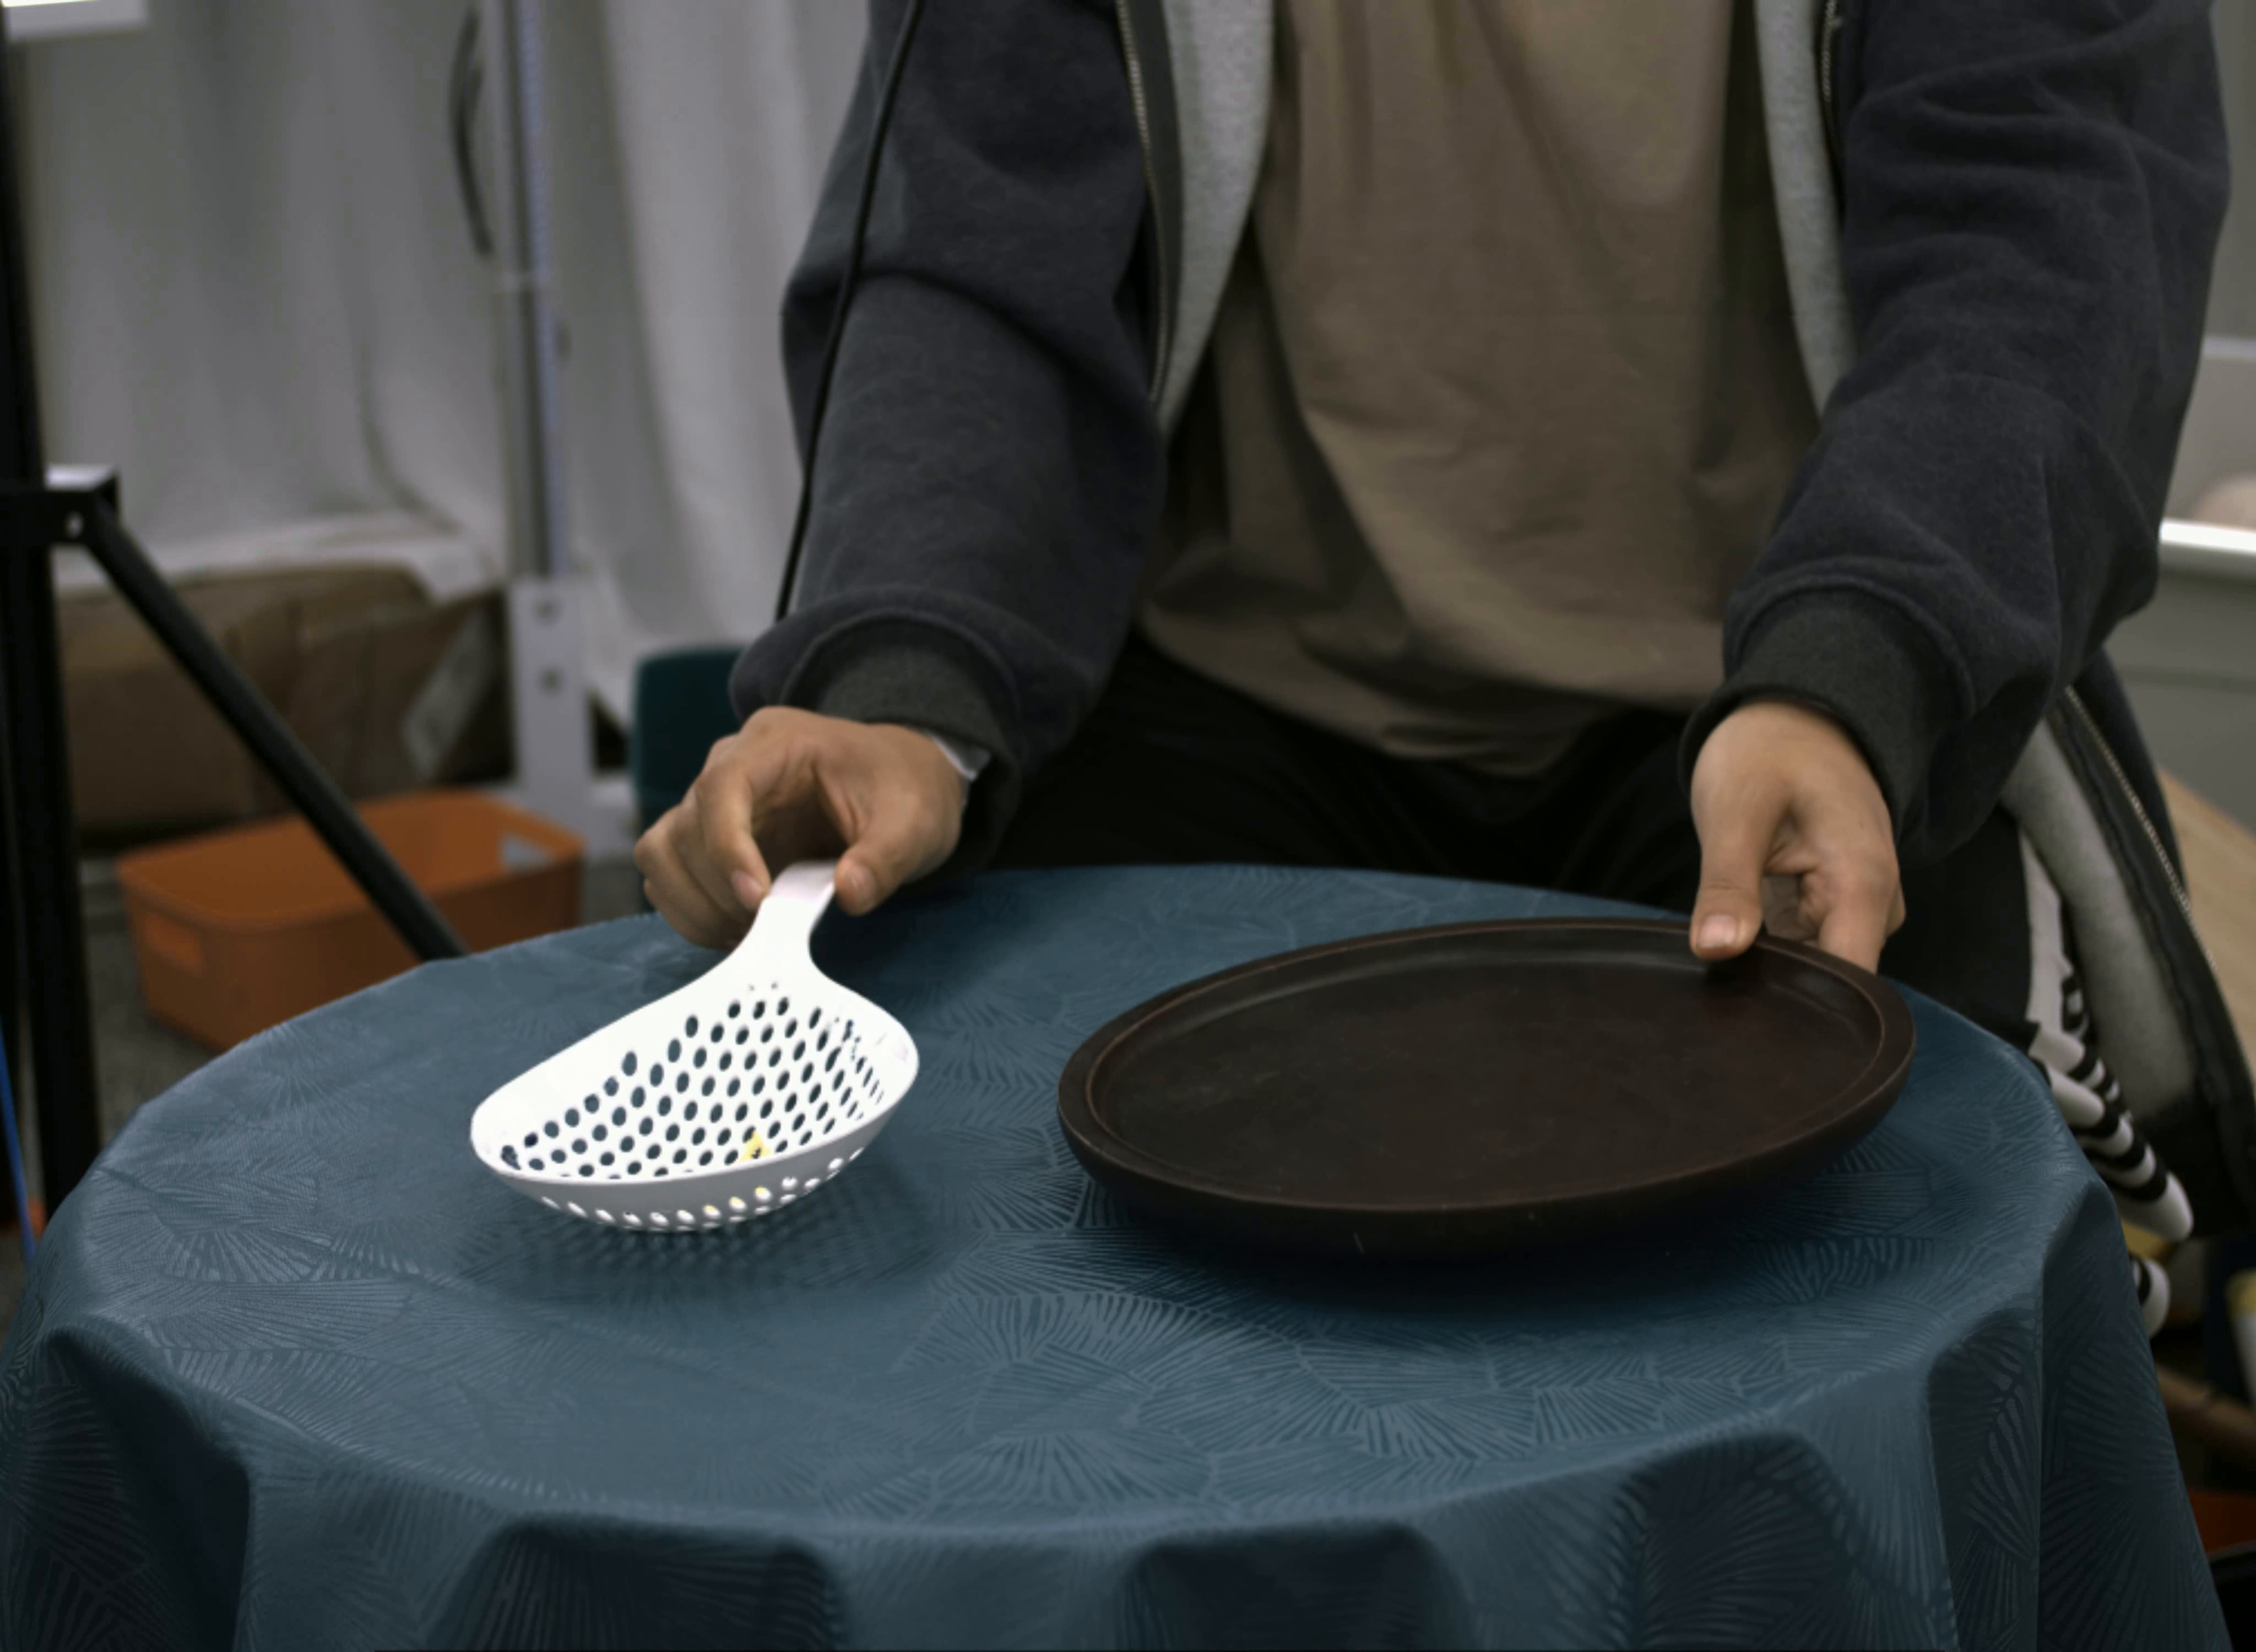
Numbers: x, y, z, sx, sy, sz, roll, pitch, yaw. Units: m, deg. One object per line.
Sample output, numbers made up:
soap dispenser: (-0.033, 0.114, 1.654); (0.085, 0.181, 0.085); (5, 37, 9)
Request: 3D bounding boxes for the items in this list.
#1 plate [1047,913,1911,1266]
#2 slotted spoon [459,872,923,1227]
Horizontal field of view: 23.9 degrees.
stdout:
plate: (0.103, 0.075, 1.553); (0.254, 0.029, 0.256); (-7, 16, 1)
slotted spoon: (-0.115, 0.055, 1.659); (0.137, 0.050, 0.348); (-9, 19, 8)
